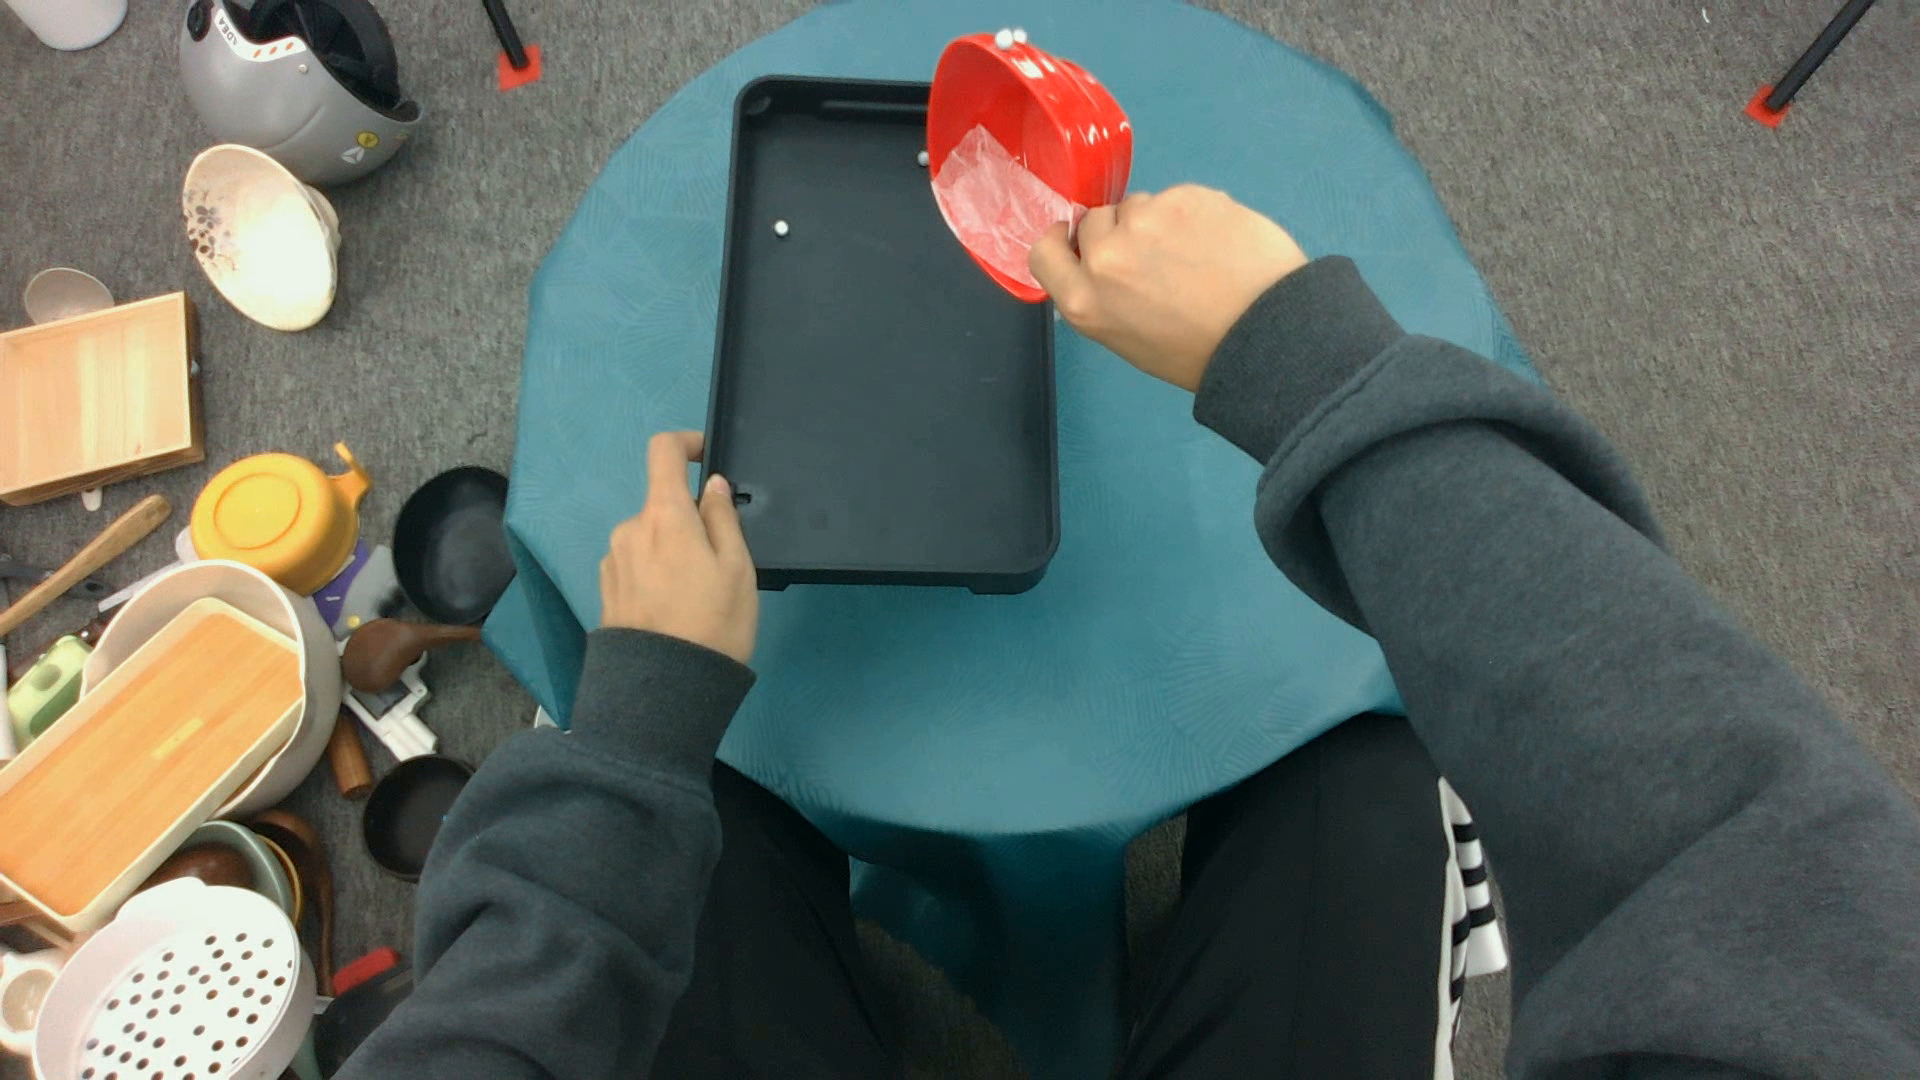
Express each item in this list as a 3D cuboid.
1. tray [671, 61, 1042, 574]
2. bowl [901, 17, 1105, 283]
[{"bbox_3d":[-0.054,-0.131,0.756,0.184,0.037,0.319,1,64,-4],"label":"tray"},{"bbox_3d":[0.024,-0.182,0.628,0.051,0.118,0.119,-25,68,-26],"label":"bowl"}]
